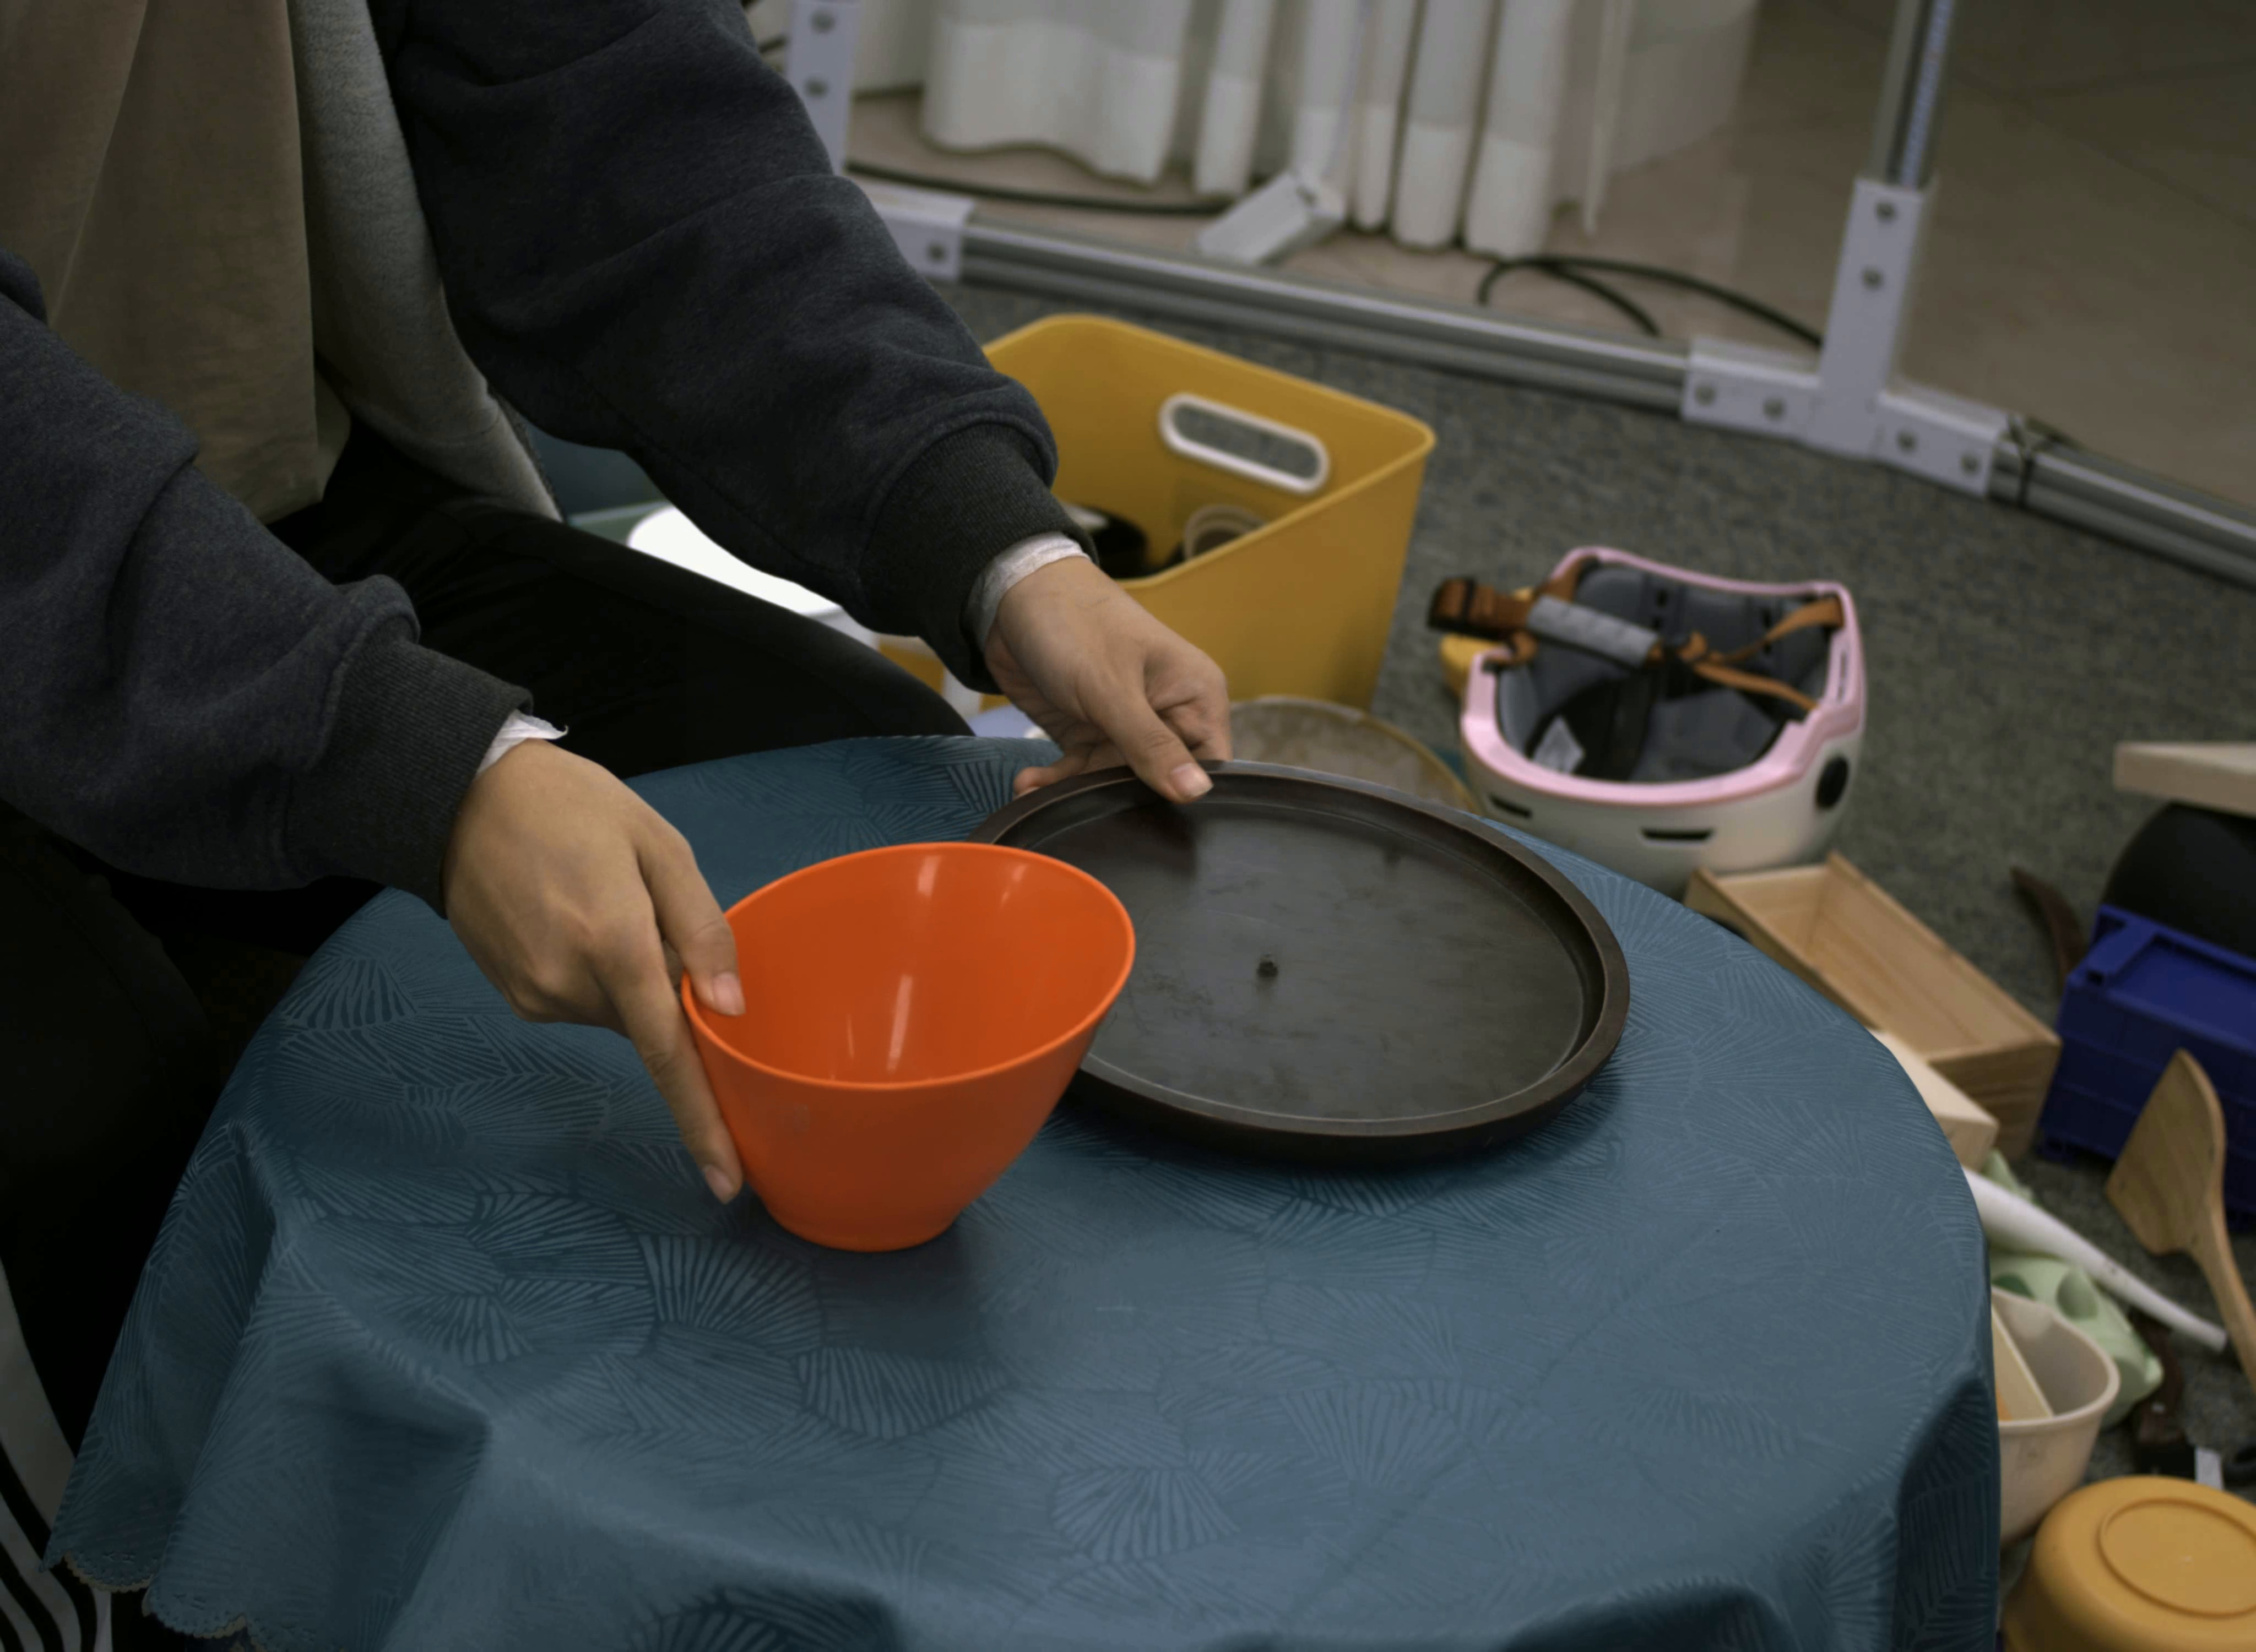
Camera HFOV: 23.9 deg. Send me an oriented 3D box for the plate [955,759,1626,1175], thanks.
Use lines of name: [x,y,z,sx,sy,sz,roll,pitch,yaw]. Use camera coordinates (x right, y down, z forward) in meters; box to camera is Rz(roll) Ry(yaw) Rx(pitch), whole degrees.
plate: [0.054,0.049,1.921,0.254,0.029,0.256,5,31,-3]

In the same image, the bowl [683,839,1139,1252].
bowl: [-0.075,0.079,1.755,0.147,0.104,0.149,5,31,-4]
